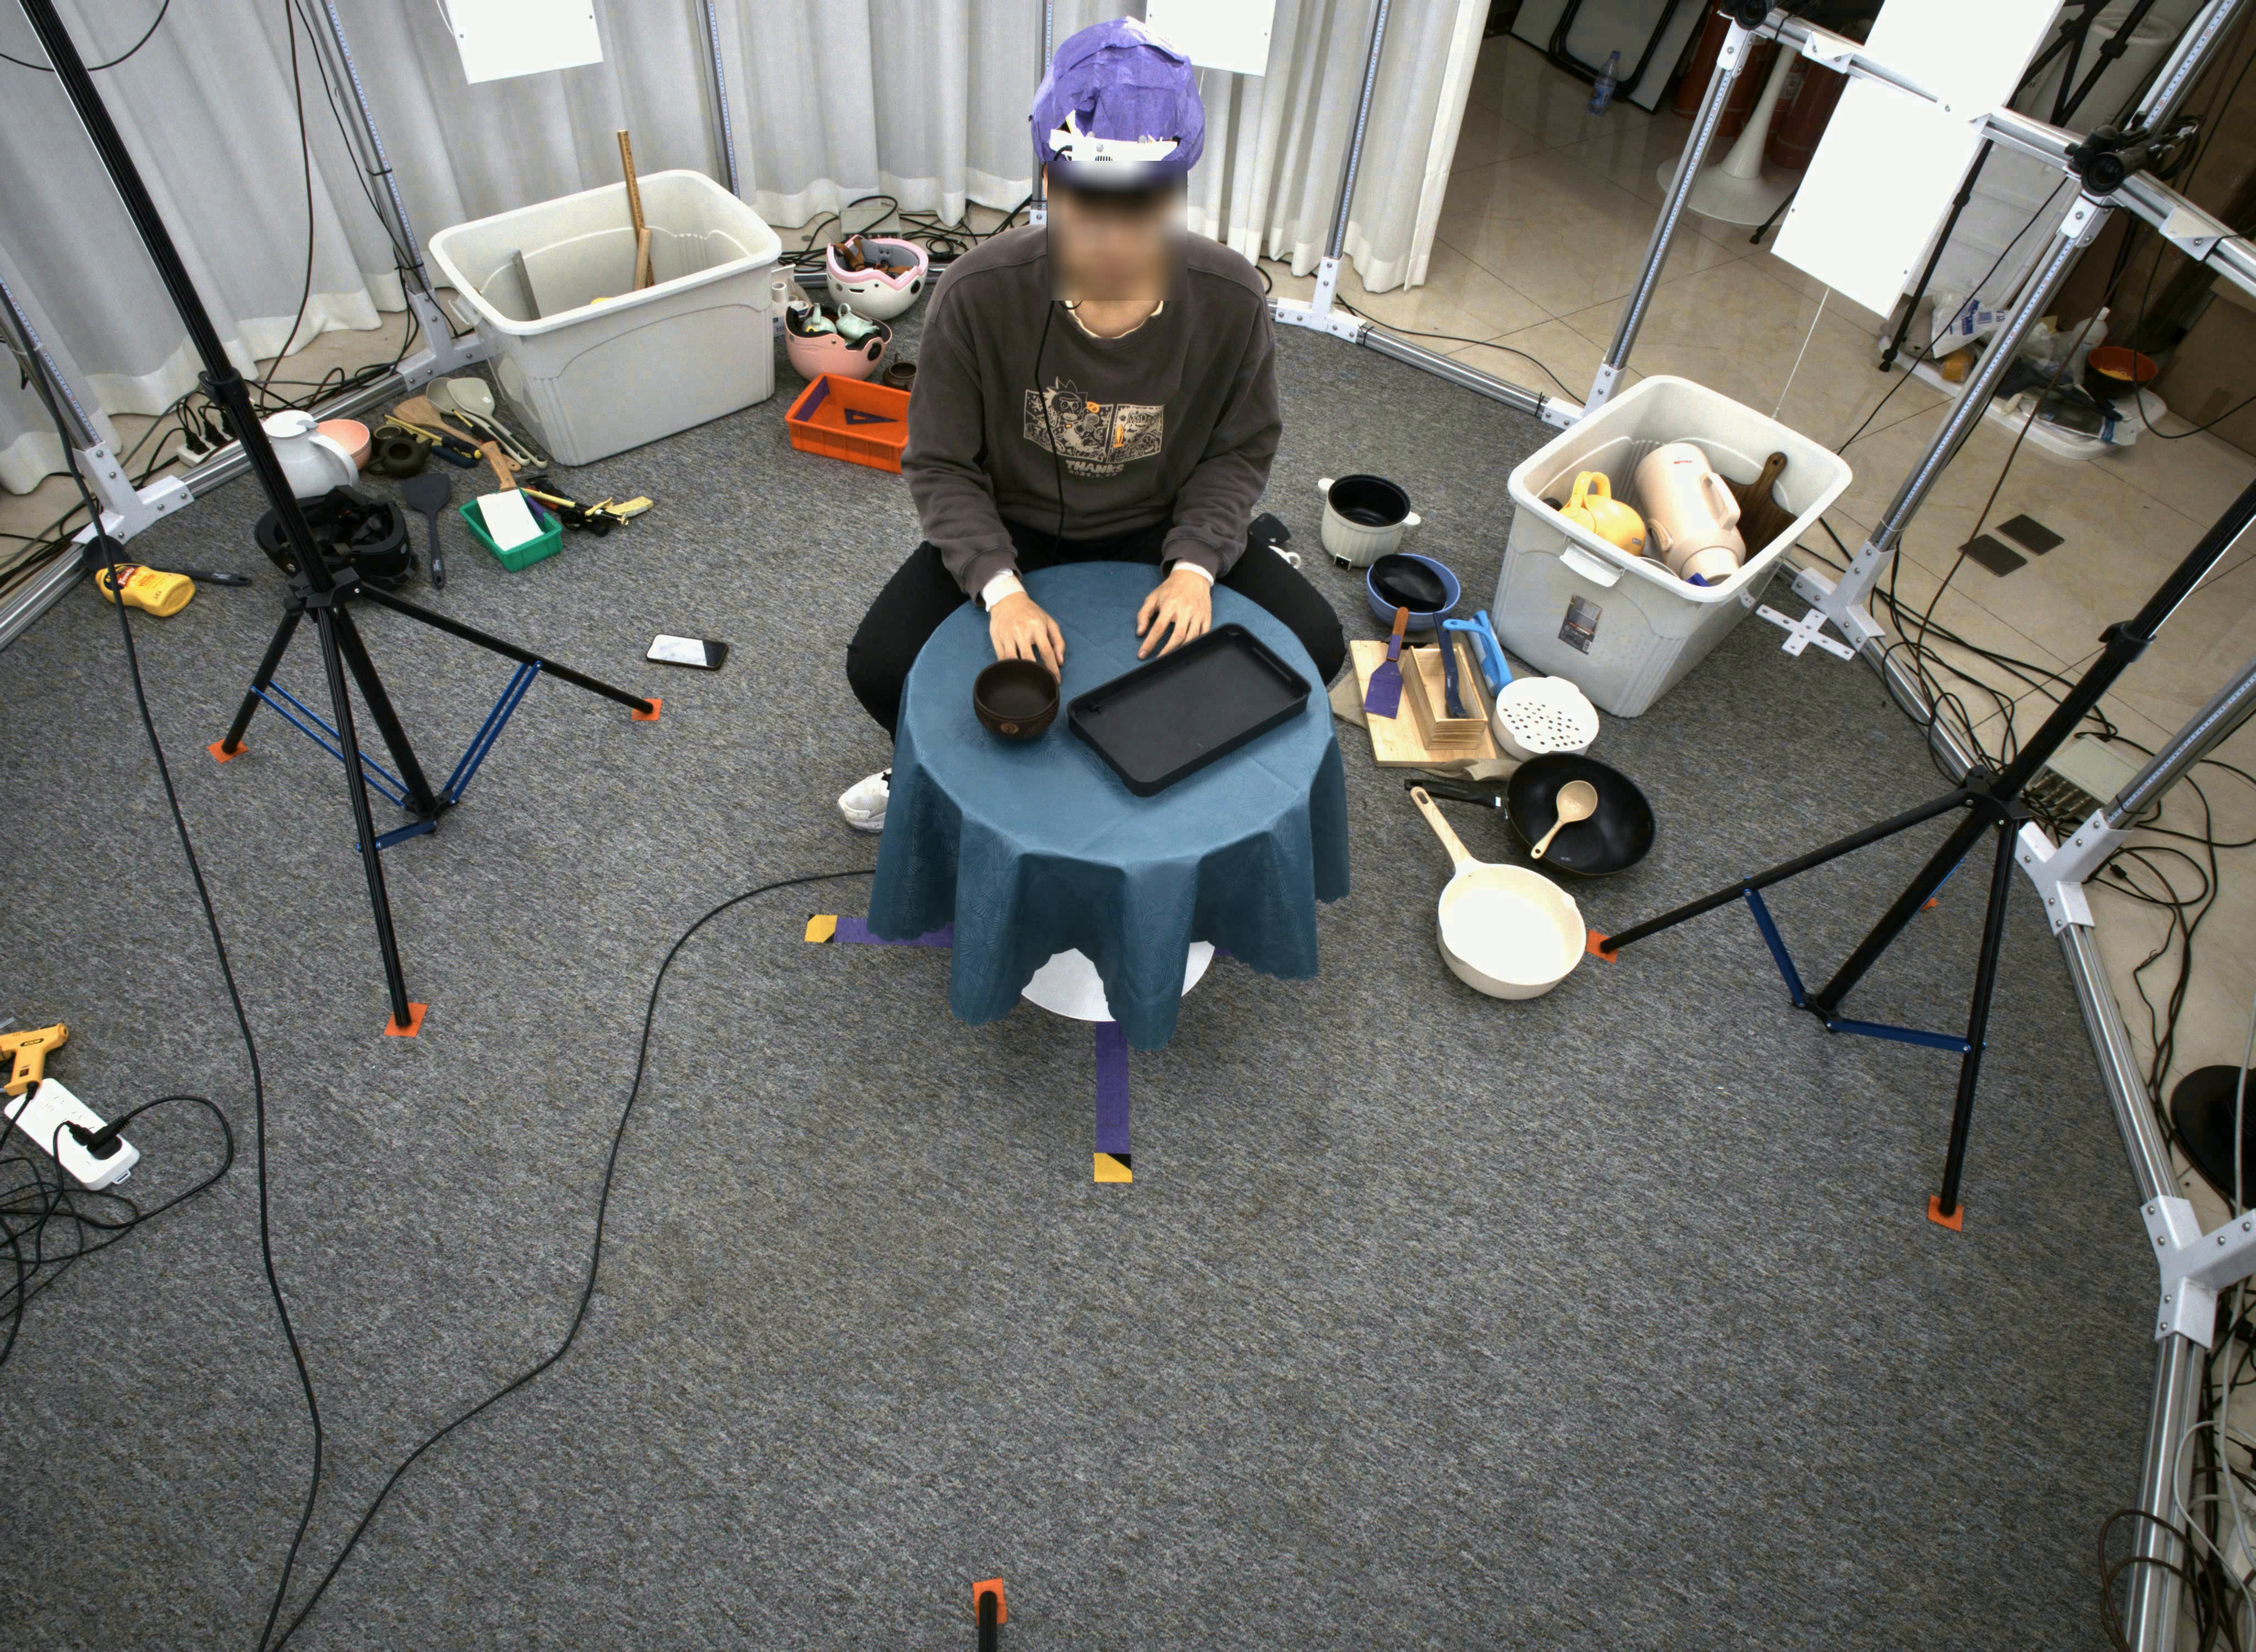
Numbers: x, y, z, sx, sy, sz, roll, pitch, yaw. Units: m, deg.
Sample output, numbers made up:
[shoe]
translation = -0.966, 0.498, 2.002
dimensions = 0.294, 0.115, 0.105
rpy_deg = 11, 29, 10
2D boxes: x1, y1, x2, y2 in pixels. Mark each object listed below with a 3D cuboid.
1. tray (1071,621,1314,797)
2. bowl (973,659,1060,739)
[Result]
[tray]
translation = 0.092, -0.170, 1.796
dimensions = 0.320, 0.036, 0.187
rpy_deg = -31, 57, -26
[bowl]
translation = -0.152, -0.165, 1.754
dimensions = 0.118, 0.068, 0.121
rpy_deg = 2, 47, -2
